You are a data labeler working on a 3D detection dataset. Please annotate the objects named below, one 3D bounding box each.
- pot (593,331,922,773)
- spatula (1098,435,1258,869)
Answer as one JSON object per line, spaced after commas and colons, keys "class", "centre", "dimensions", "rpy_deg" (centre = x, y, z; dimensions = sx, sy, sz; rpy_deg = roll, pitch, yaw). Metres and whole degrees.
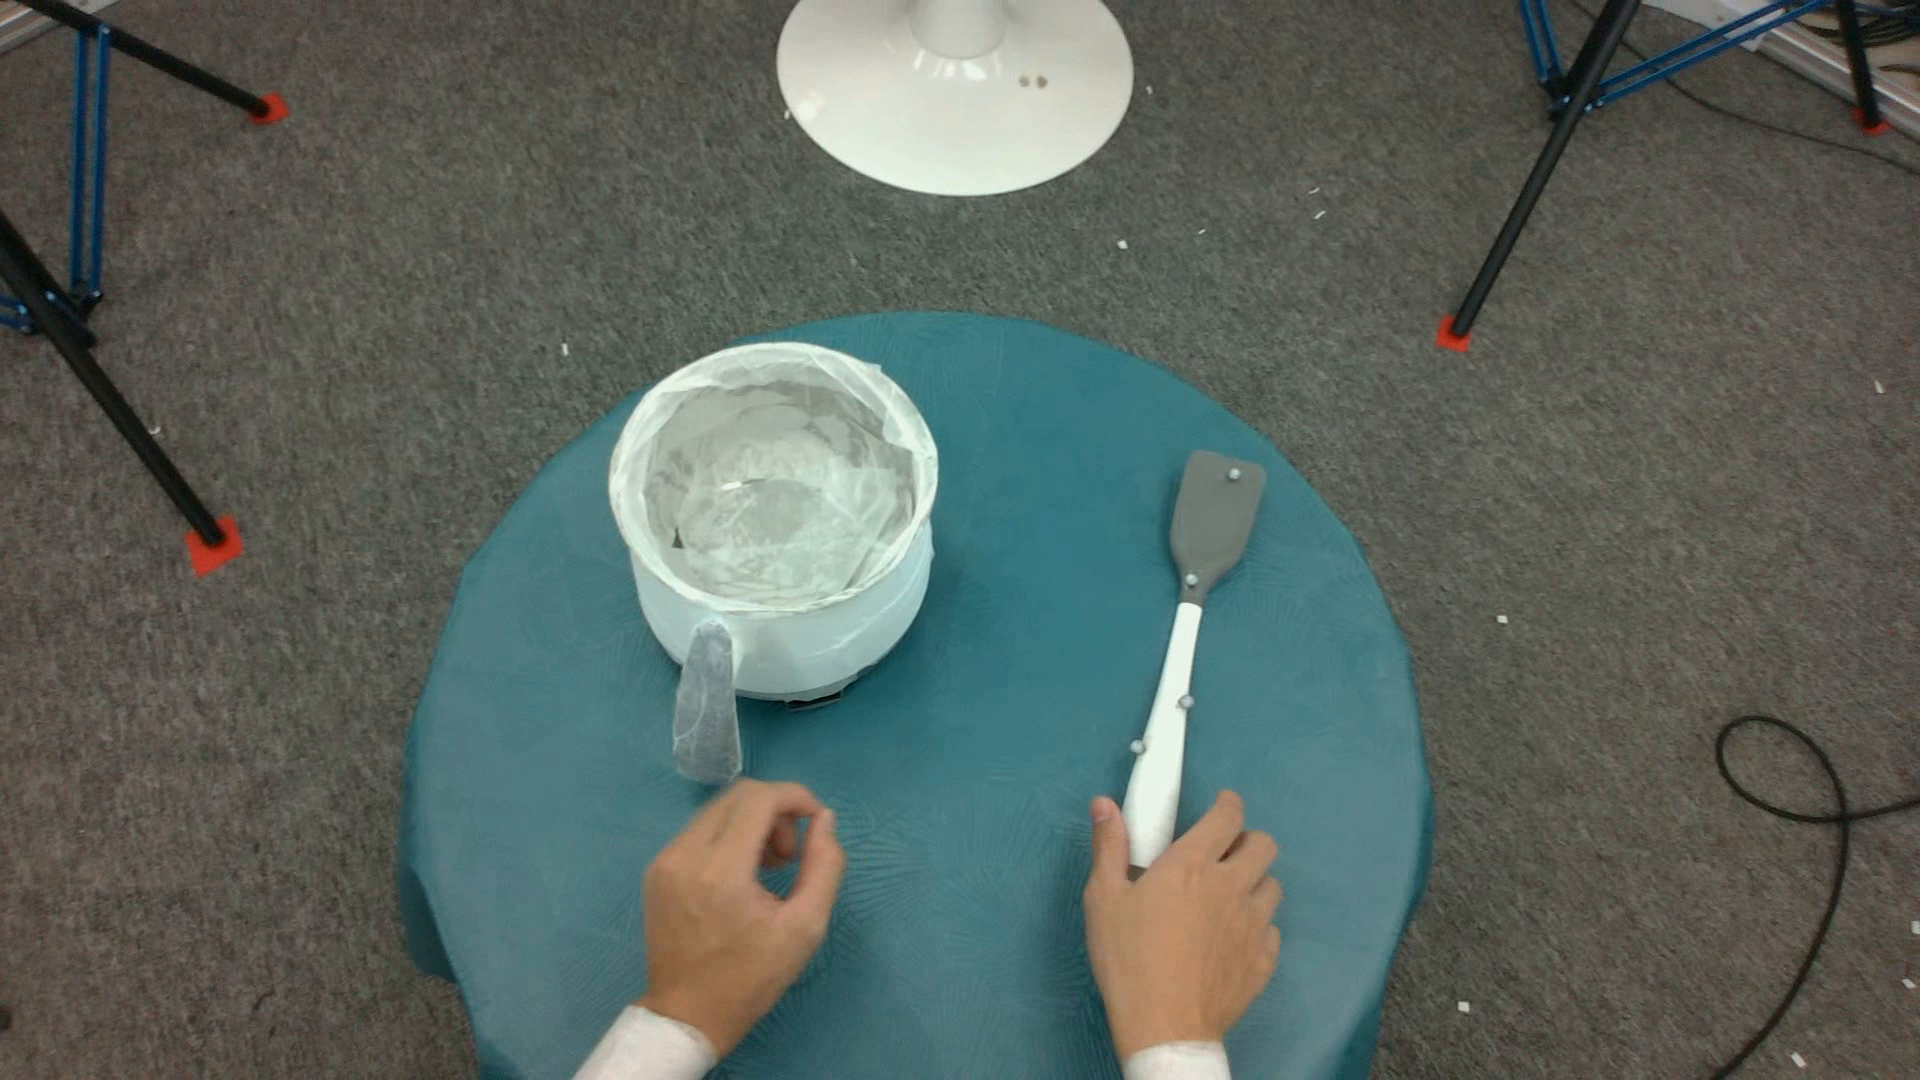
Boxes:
{"class": "pot", "centre": [-0.119, 0.011, 0.788], "dimensions": [0.178, 0.136, 0.235], "rpy_deg": [13, 60, 3]}
{"class": "spatula", "centre": [0.131, 0.059, 0.840], "dimensions": [0.058, 0.032, 0.289], "rpy_deg": [14, 60, 7]}
